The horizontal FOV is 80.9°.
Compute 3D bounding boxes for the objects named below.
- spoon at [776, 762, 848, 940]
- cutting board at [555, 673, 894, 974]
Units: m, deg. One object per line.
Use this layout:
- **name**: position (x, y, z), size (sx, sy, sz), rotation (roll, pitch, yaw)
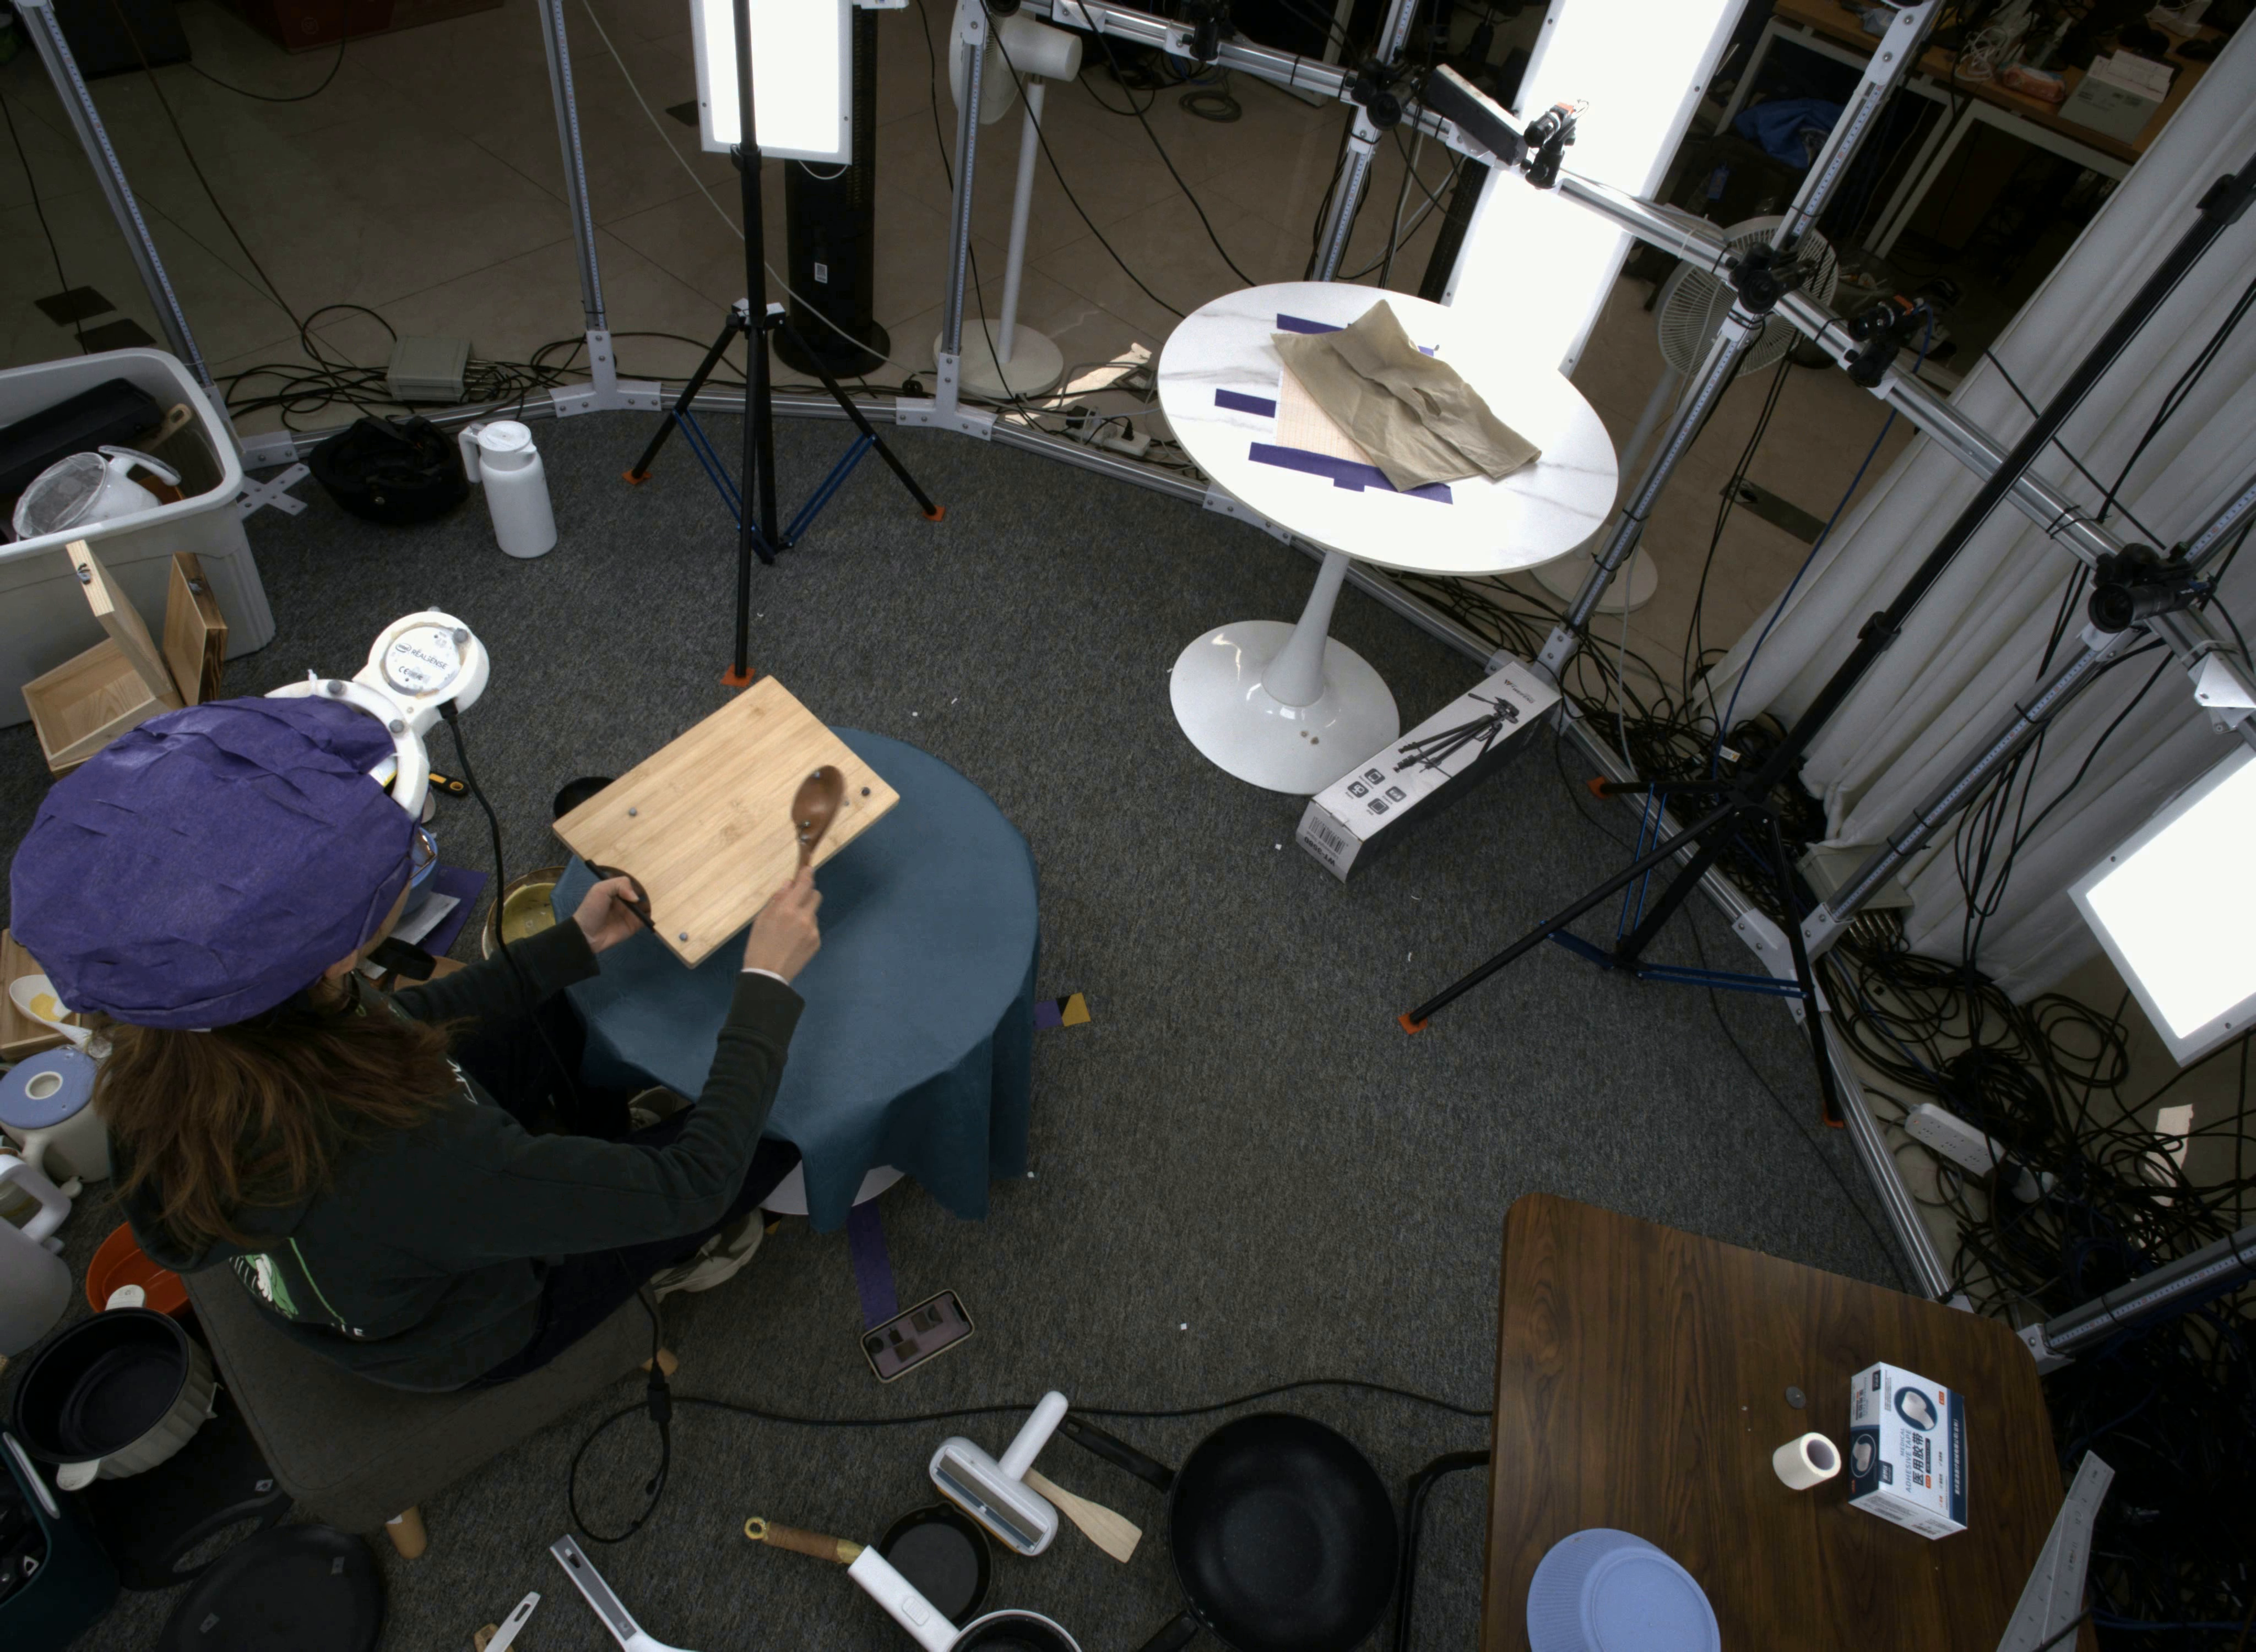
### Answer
- **spoon**: position (-0.353, 0.024, 1.422), size (0.073, 0.018, 0.213), rotation (-6, 59, 24)
- **cutting board**: position (-0.488, -0.014, 1.569), size (0.249, 0.024, 0.348), rotation (42, 57, 5)
